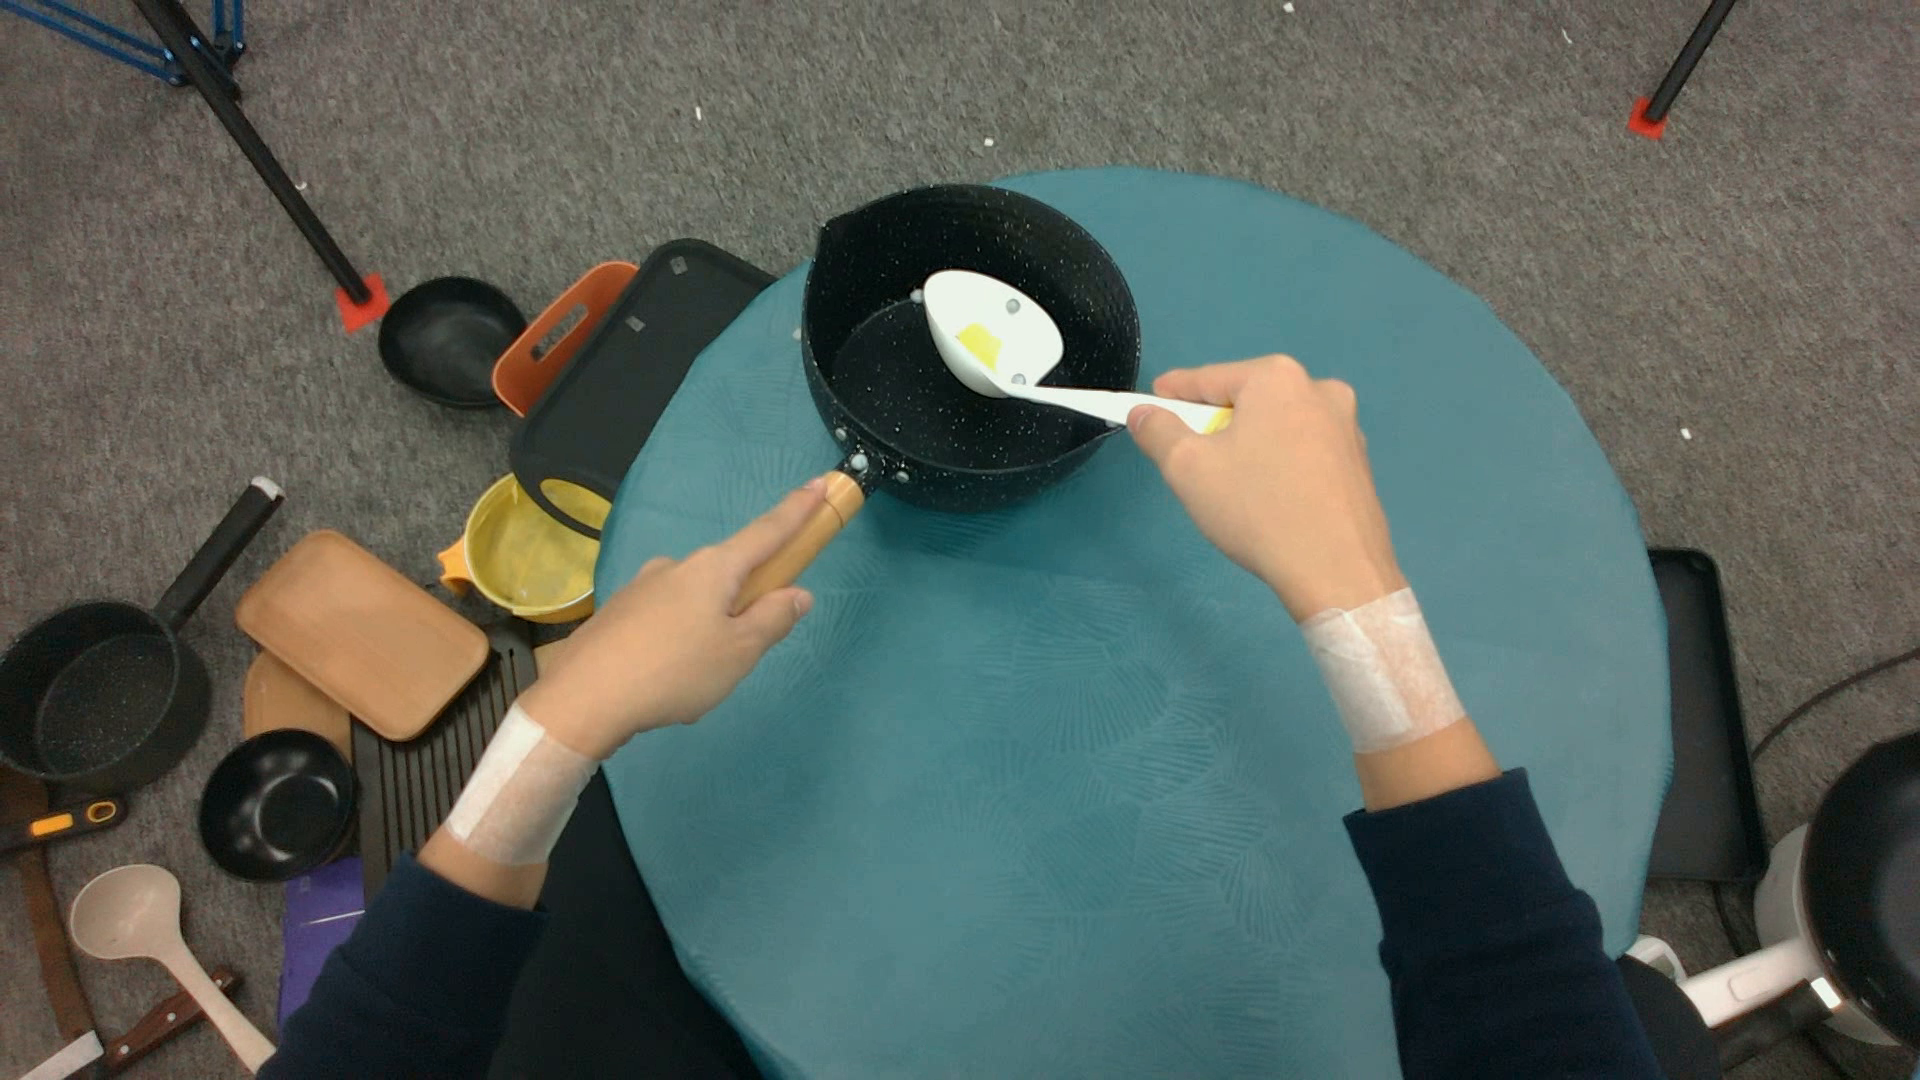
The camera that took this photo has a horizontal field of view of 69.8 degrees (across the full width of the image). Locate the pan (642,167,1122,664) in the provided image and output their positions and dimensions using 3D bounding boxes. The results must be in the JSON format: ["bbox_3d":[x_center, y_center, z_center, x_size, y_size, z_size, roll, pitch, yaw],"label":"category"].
[{"bbox_3d":[-0.049,-0.054,0.728,0.207,0.108,0.344,33,63,5],"label":"pan"}]

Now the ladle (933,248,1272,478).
[{"bbox_3d":[0.065,-0.095,0.691,0.090,0.293,0.070,21,95,-28],"label":"ladle"}]
